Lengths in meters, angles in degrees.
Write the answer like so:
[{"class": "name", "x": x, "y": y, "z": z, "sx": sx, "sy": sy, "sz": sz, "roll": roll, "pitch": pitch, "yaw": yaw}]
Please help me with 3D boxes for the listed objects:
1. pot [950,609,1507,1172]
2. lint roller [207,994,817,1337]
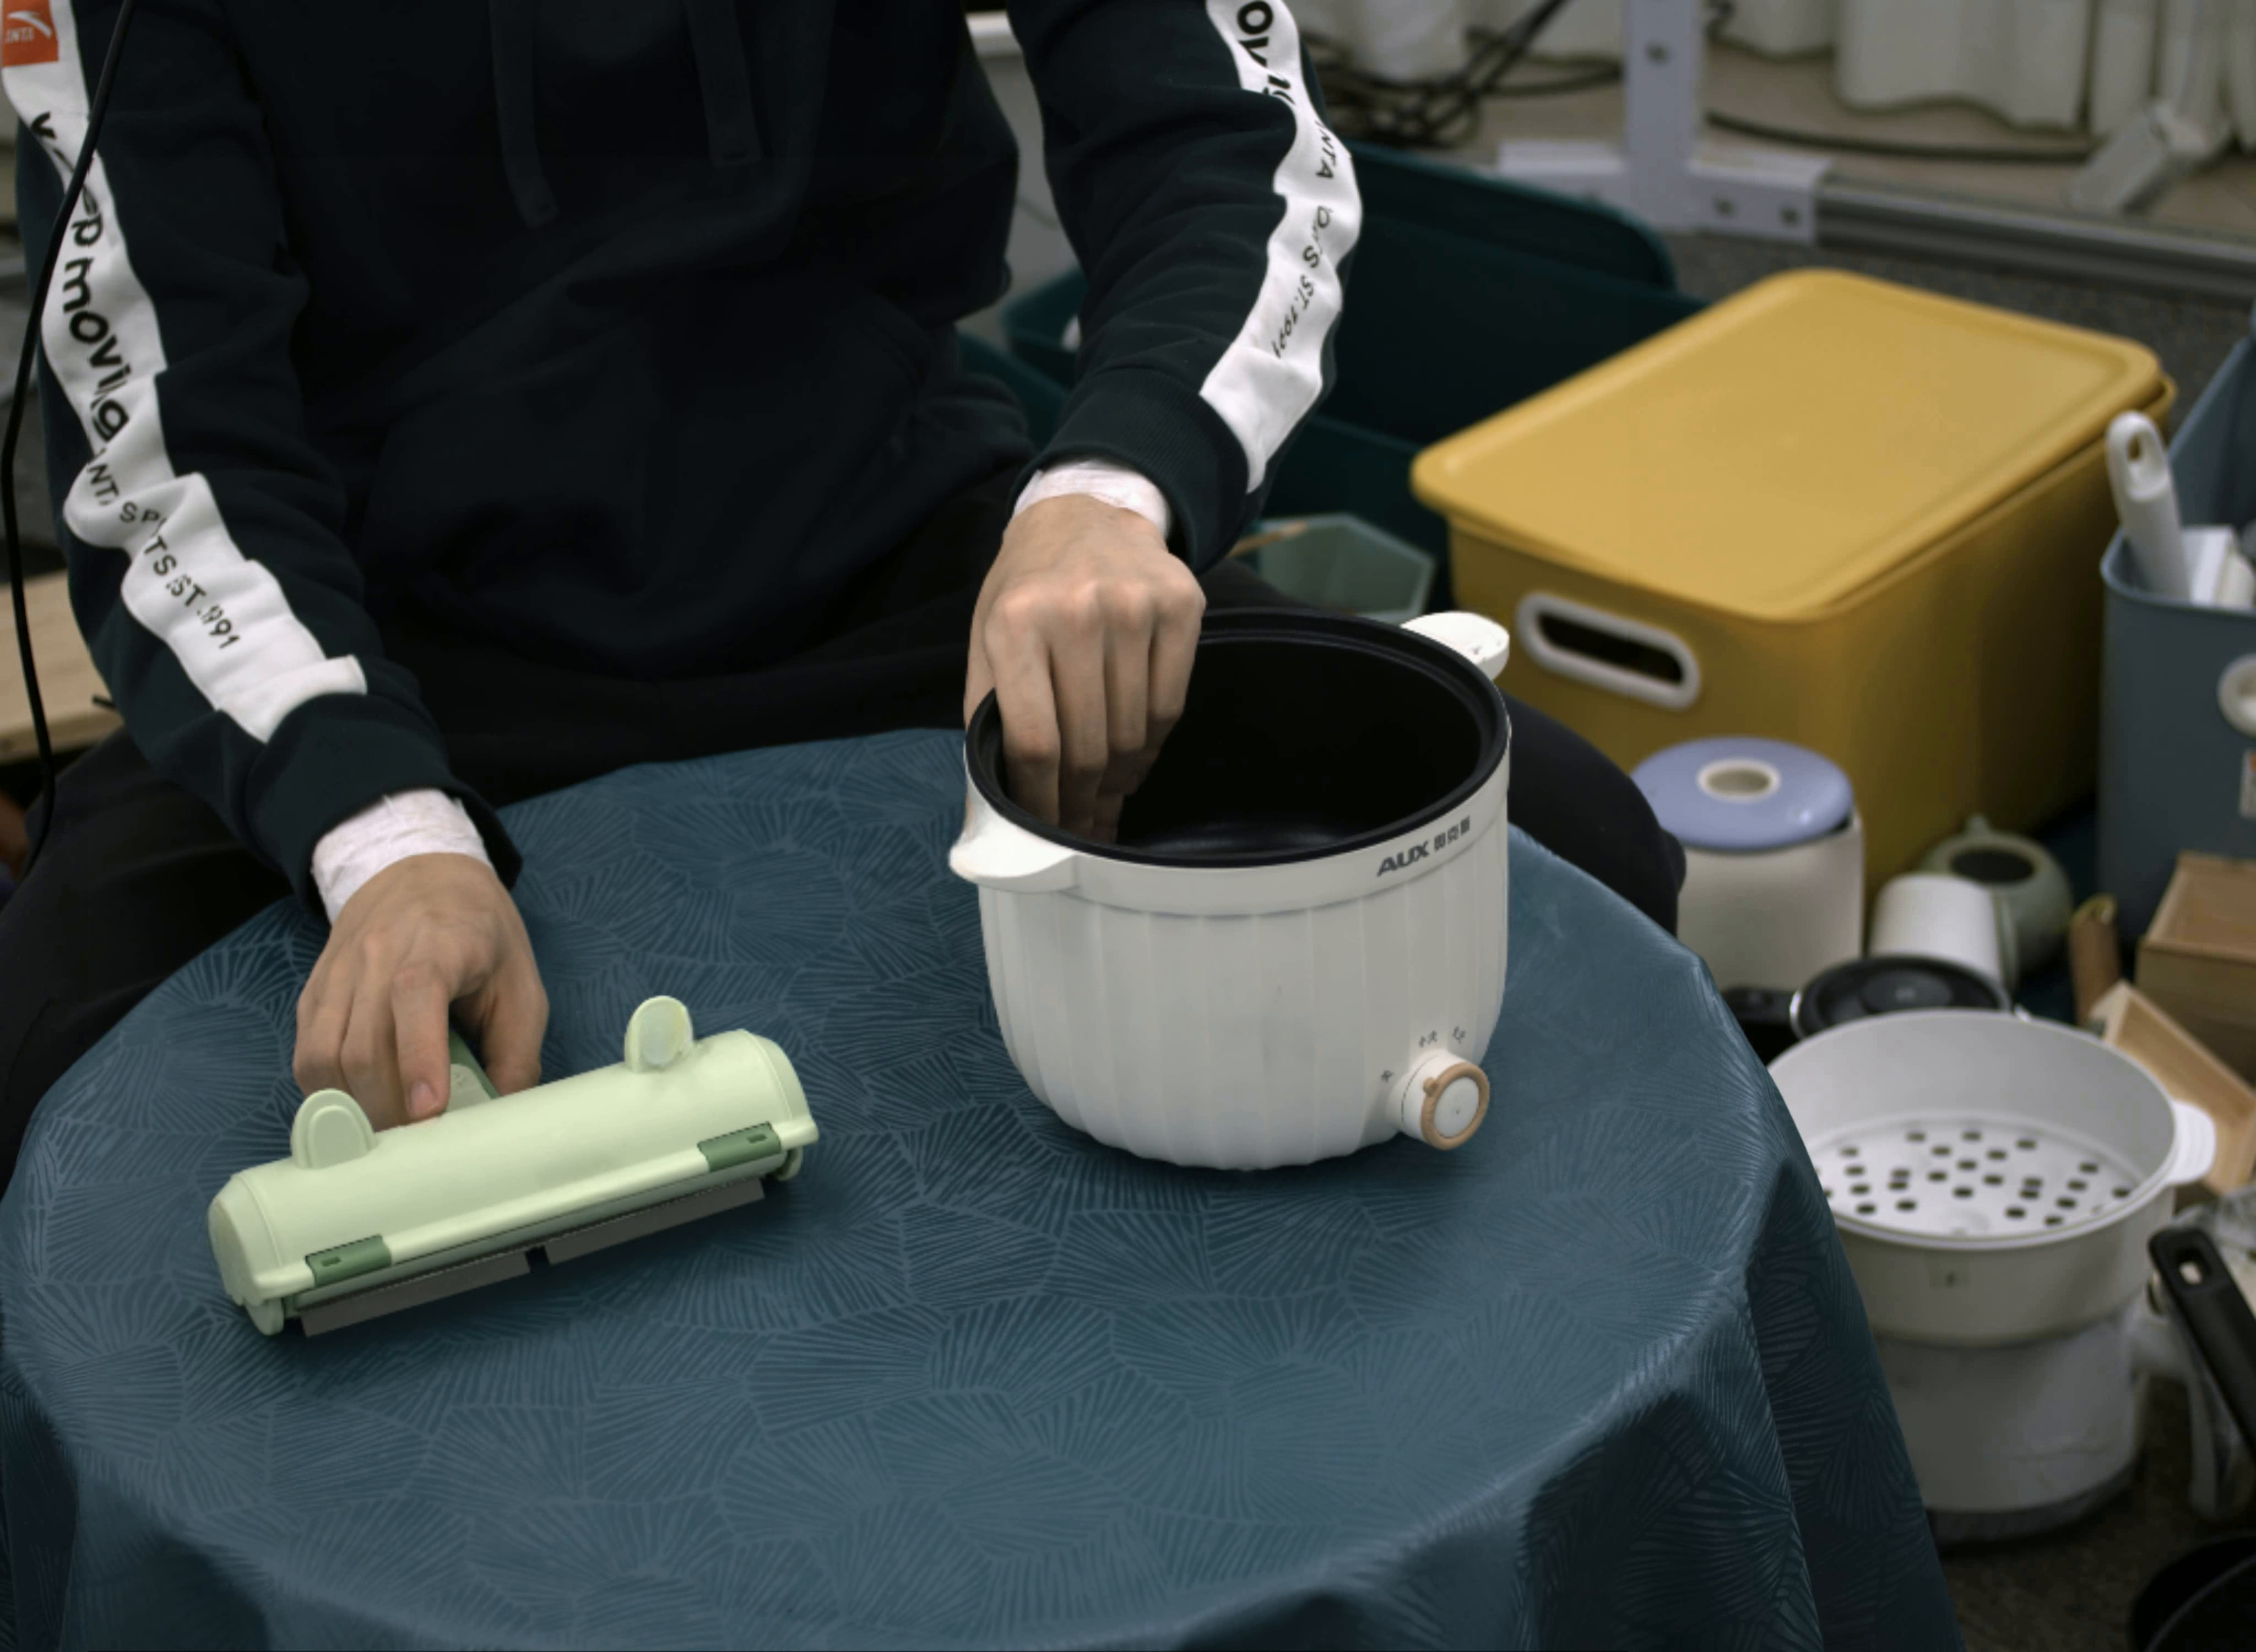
[{"class": "pot", "x": 0.044, "y": 0.027, "z": 1.890, "sx": 0.243, "sy": 0.141, "sz": 0.190, "roll": -26, "pitch": 32, "yaw": -36}, {"class": "lint roller", "x": -0.225, "y": 0.084, "z": 1.874, "sx": 0.199, "sy": 0.081, "sz": 0.185, "roll": -15, "pitch": 35, "yaw": -22}]
